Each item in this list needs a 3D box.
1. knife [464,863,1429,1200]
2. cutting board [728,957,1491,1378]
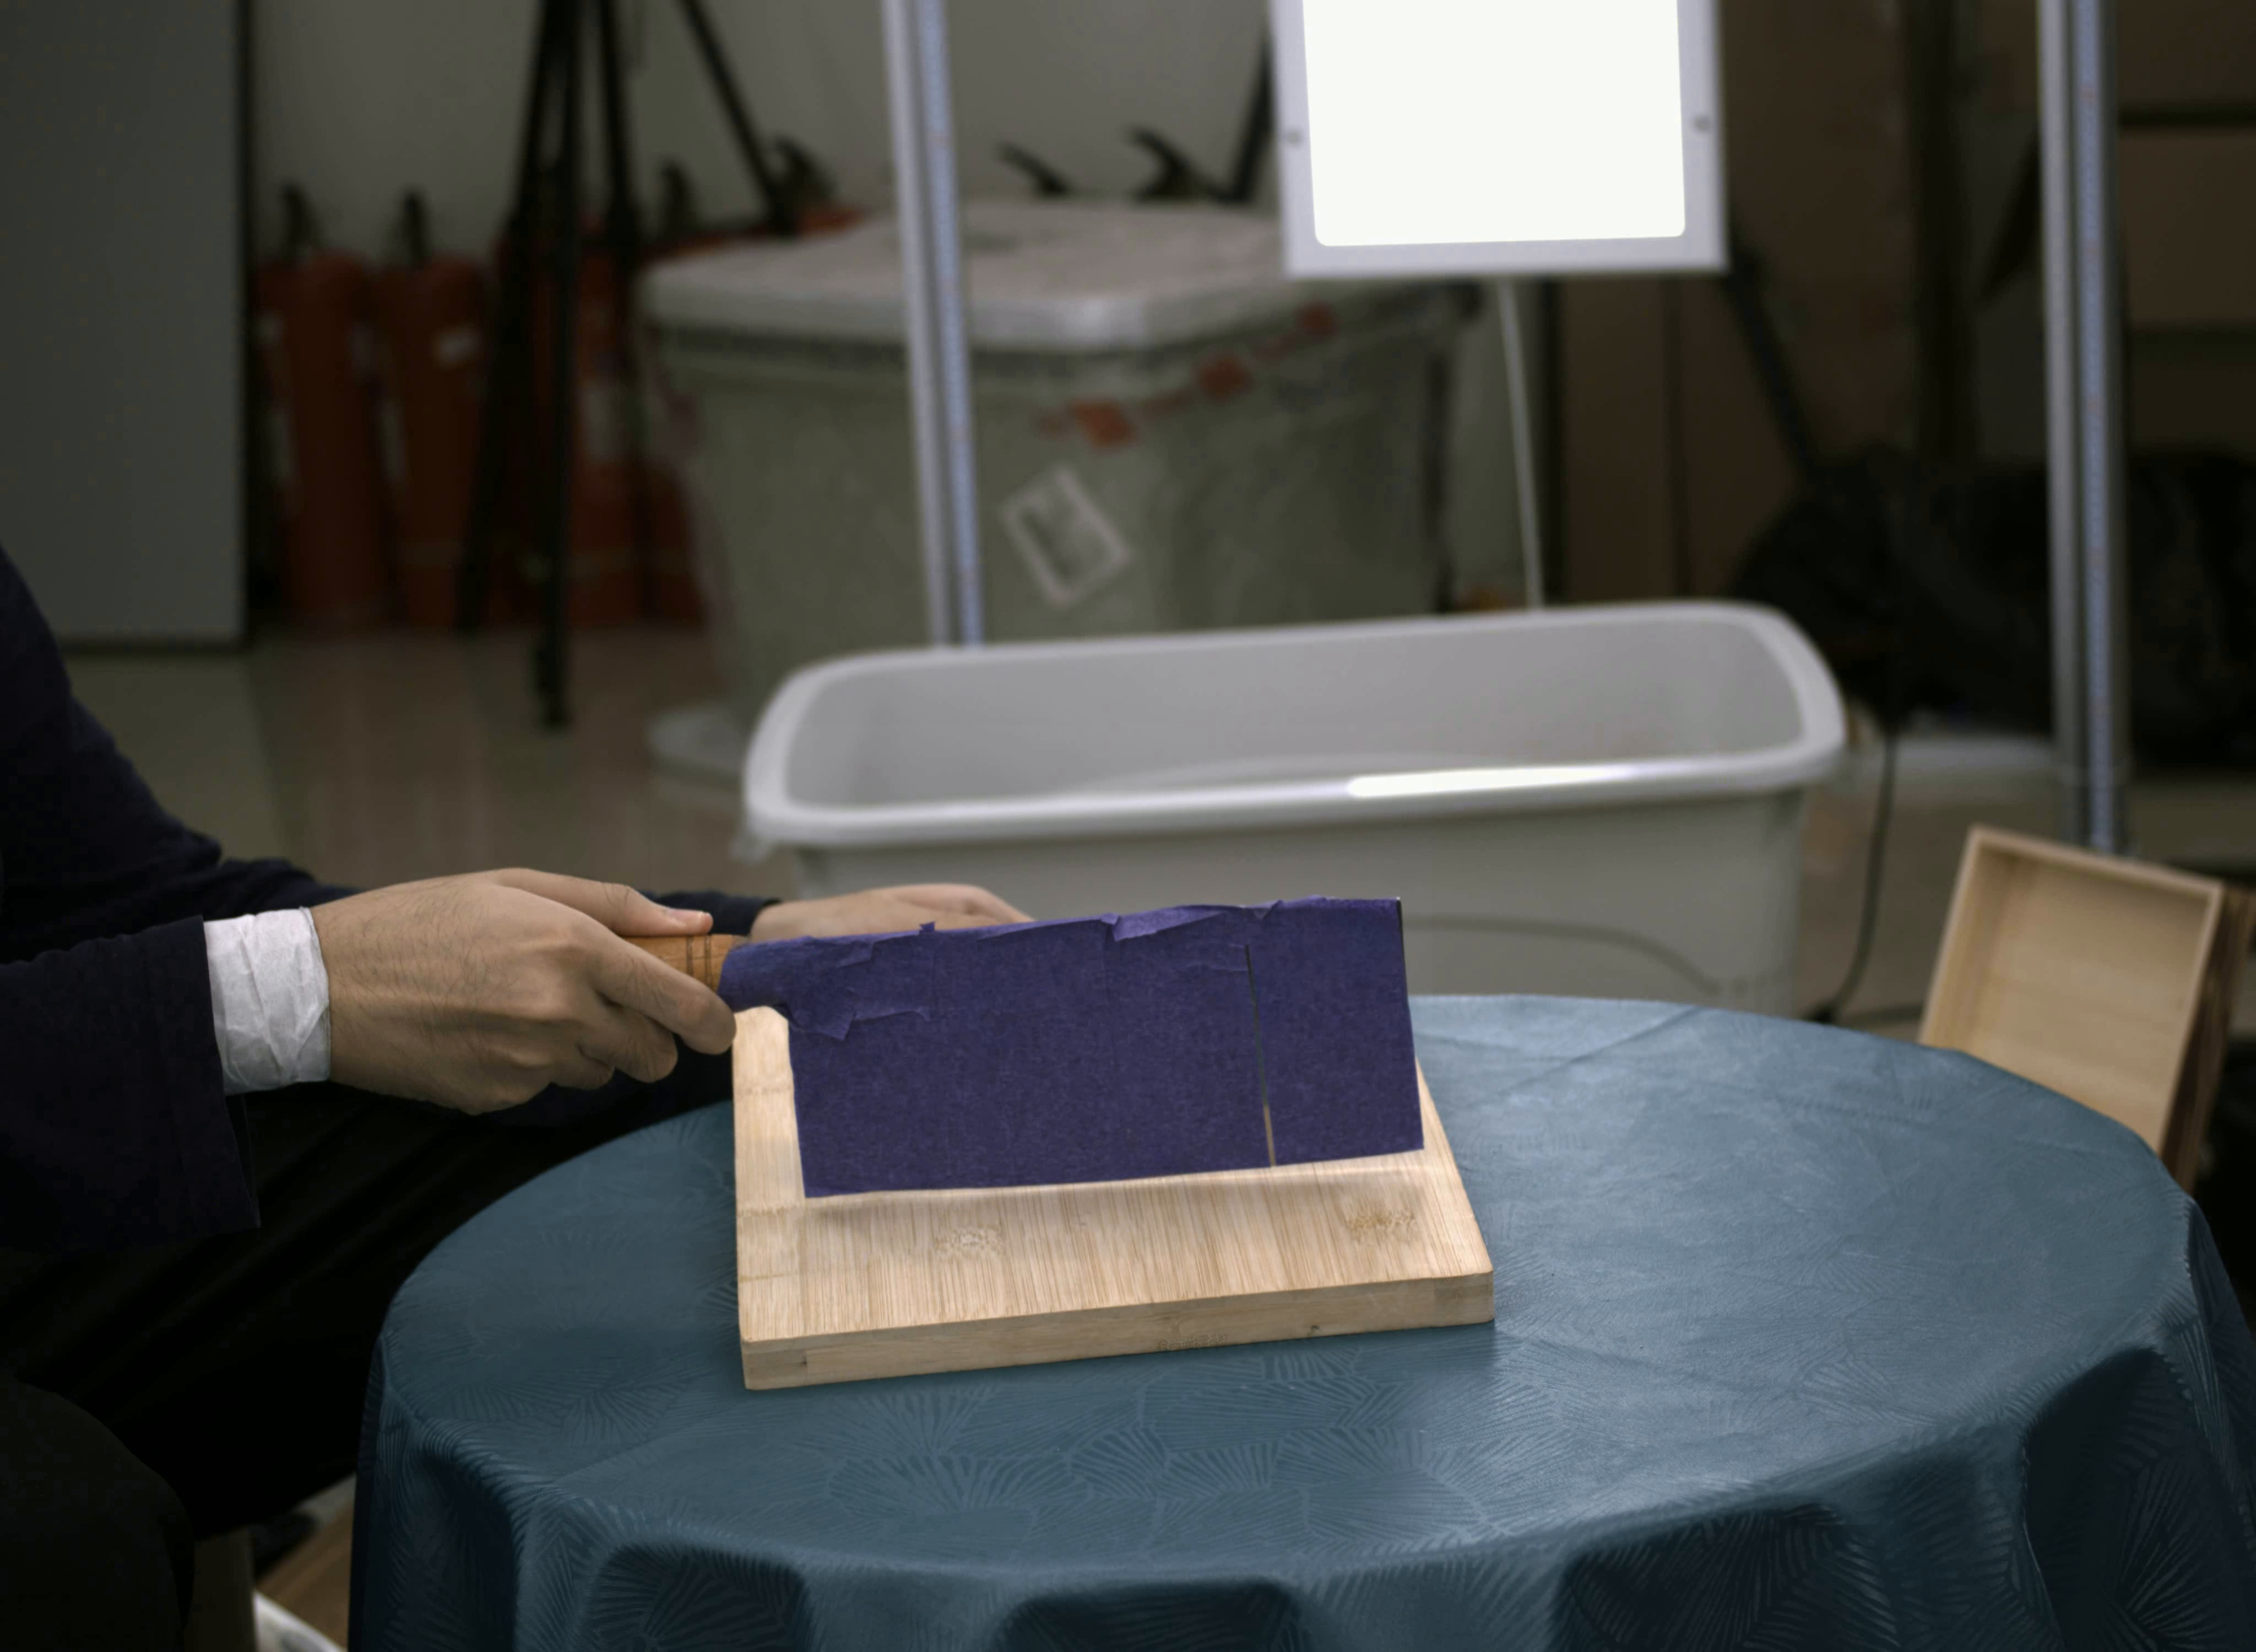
[{"bbox_3d":[-0.059,0.076,1.815,0.316,0.104,0.032,-5,12,7],"label":"knife"},{"bbox_3d":[-0.015,0.106,1.900,0.250,0.023,0.348,-6,18,-2],"label":"cutting board"}]
